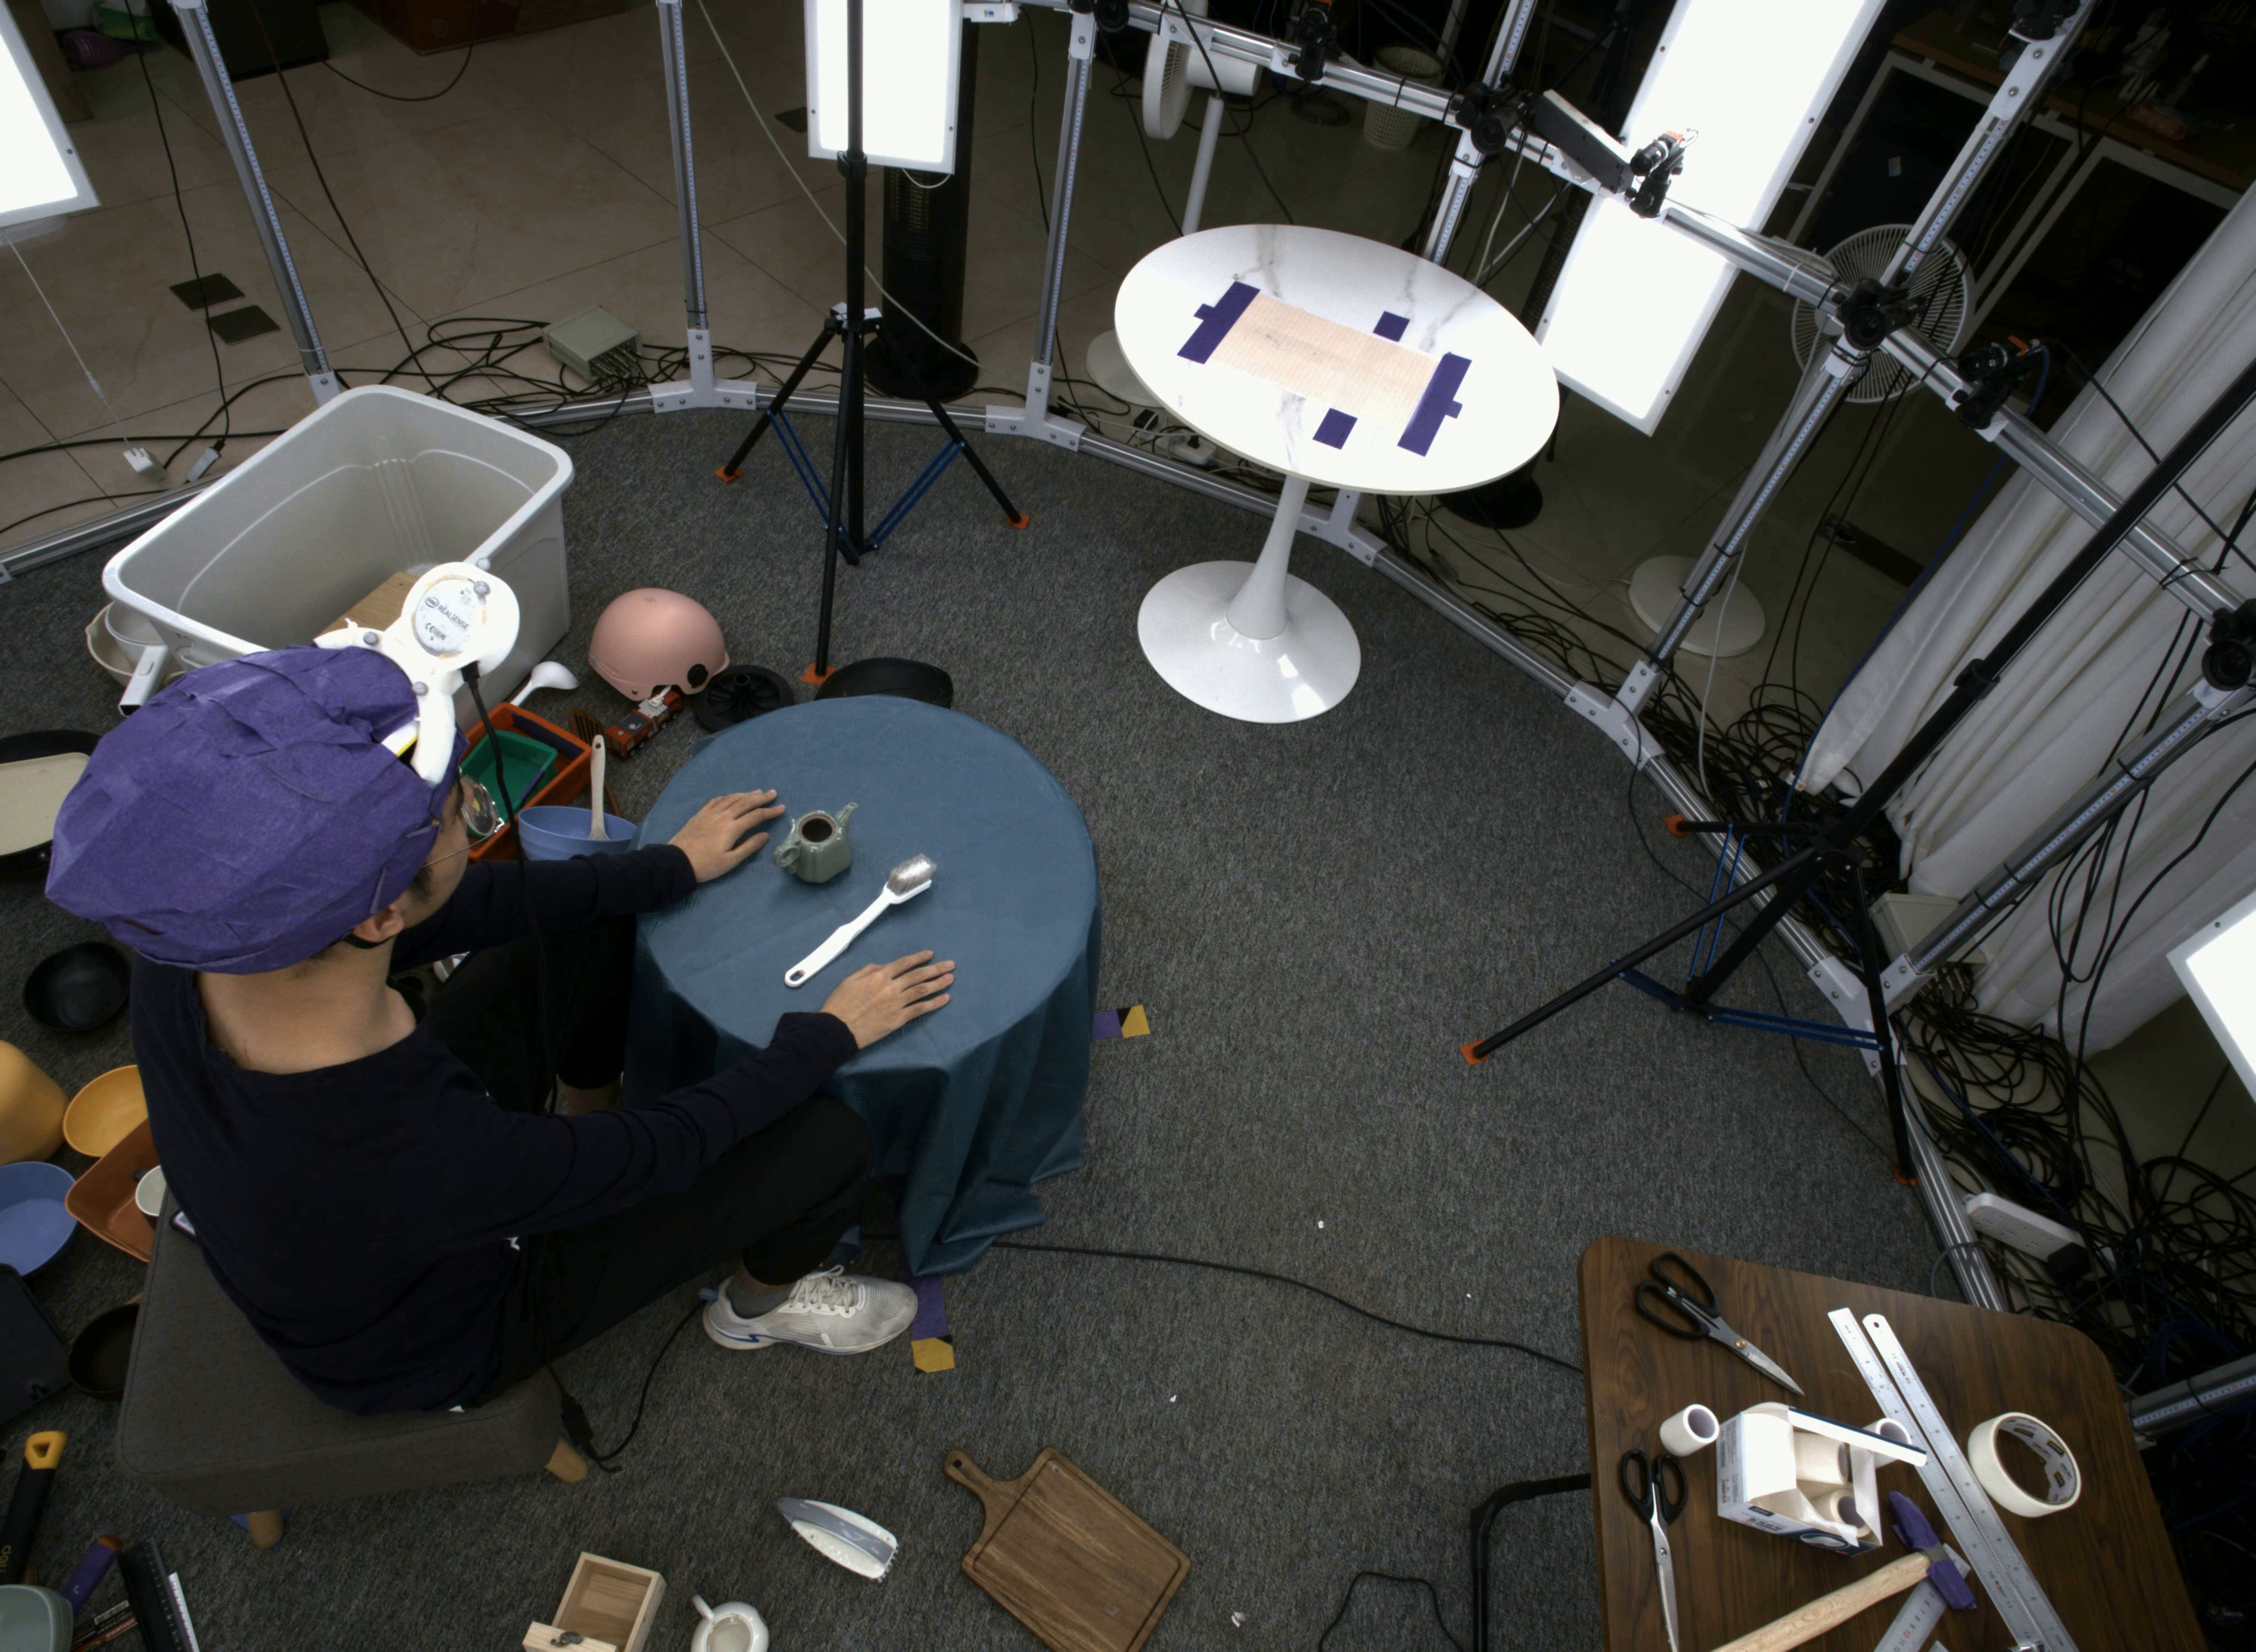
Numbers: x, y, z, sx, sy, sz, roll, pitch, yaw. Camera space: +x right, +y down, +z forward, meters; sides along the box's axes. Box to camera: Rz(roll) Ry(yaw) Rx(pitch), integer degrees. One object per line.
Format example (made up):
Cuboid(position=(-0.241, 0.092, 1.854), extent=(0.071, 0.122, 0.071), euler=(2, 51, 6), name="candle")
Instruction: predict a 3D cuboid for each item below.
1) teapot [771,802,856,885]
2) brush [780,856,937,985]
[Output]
Cuboid(position=(-0.401, 0.023, 1.667), extent=(0.078, 0.077, 0.133), euler=(40, 56, 18), name="teapot")
Cuboid(position=(-0.337, 0.113, 1.632), extent=(0.034, 0.051, 0.244), euler=(42, 55, 15), name="brush")
